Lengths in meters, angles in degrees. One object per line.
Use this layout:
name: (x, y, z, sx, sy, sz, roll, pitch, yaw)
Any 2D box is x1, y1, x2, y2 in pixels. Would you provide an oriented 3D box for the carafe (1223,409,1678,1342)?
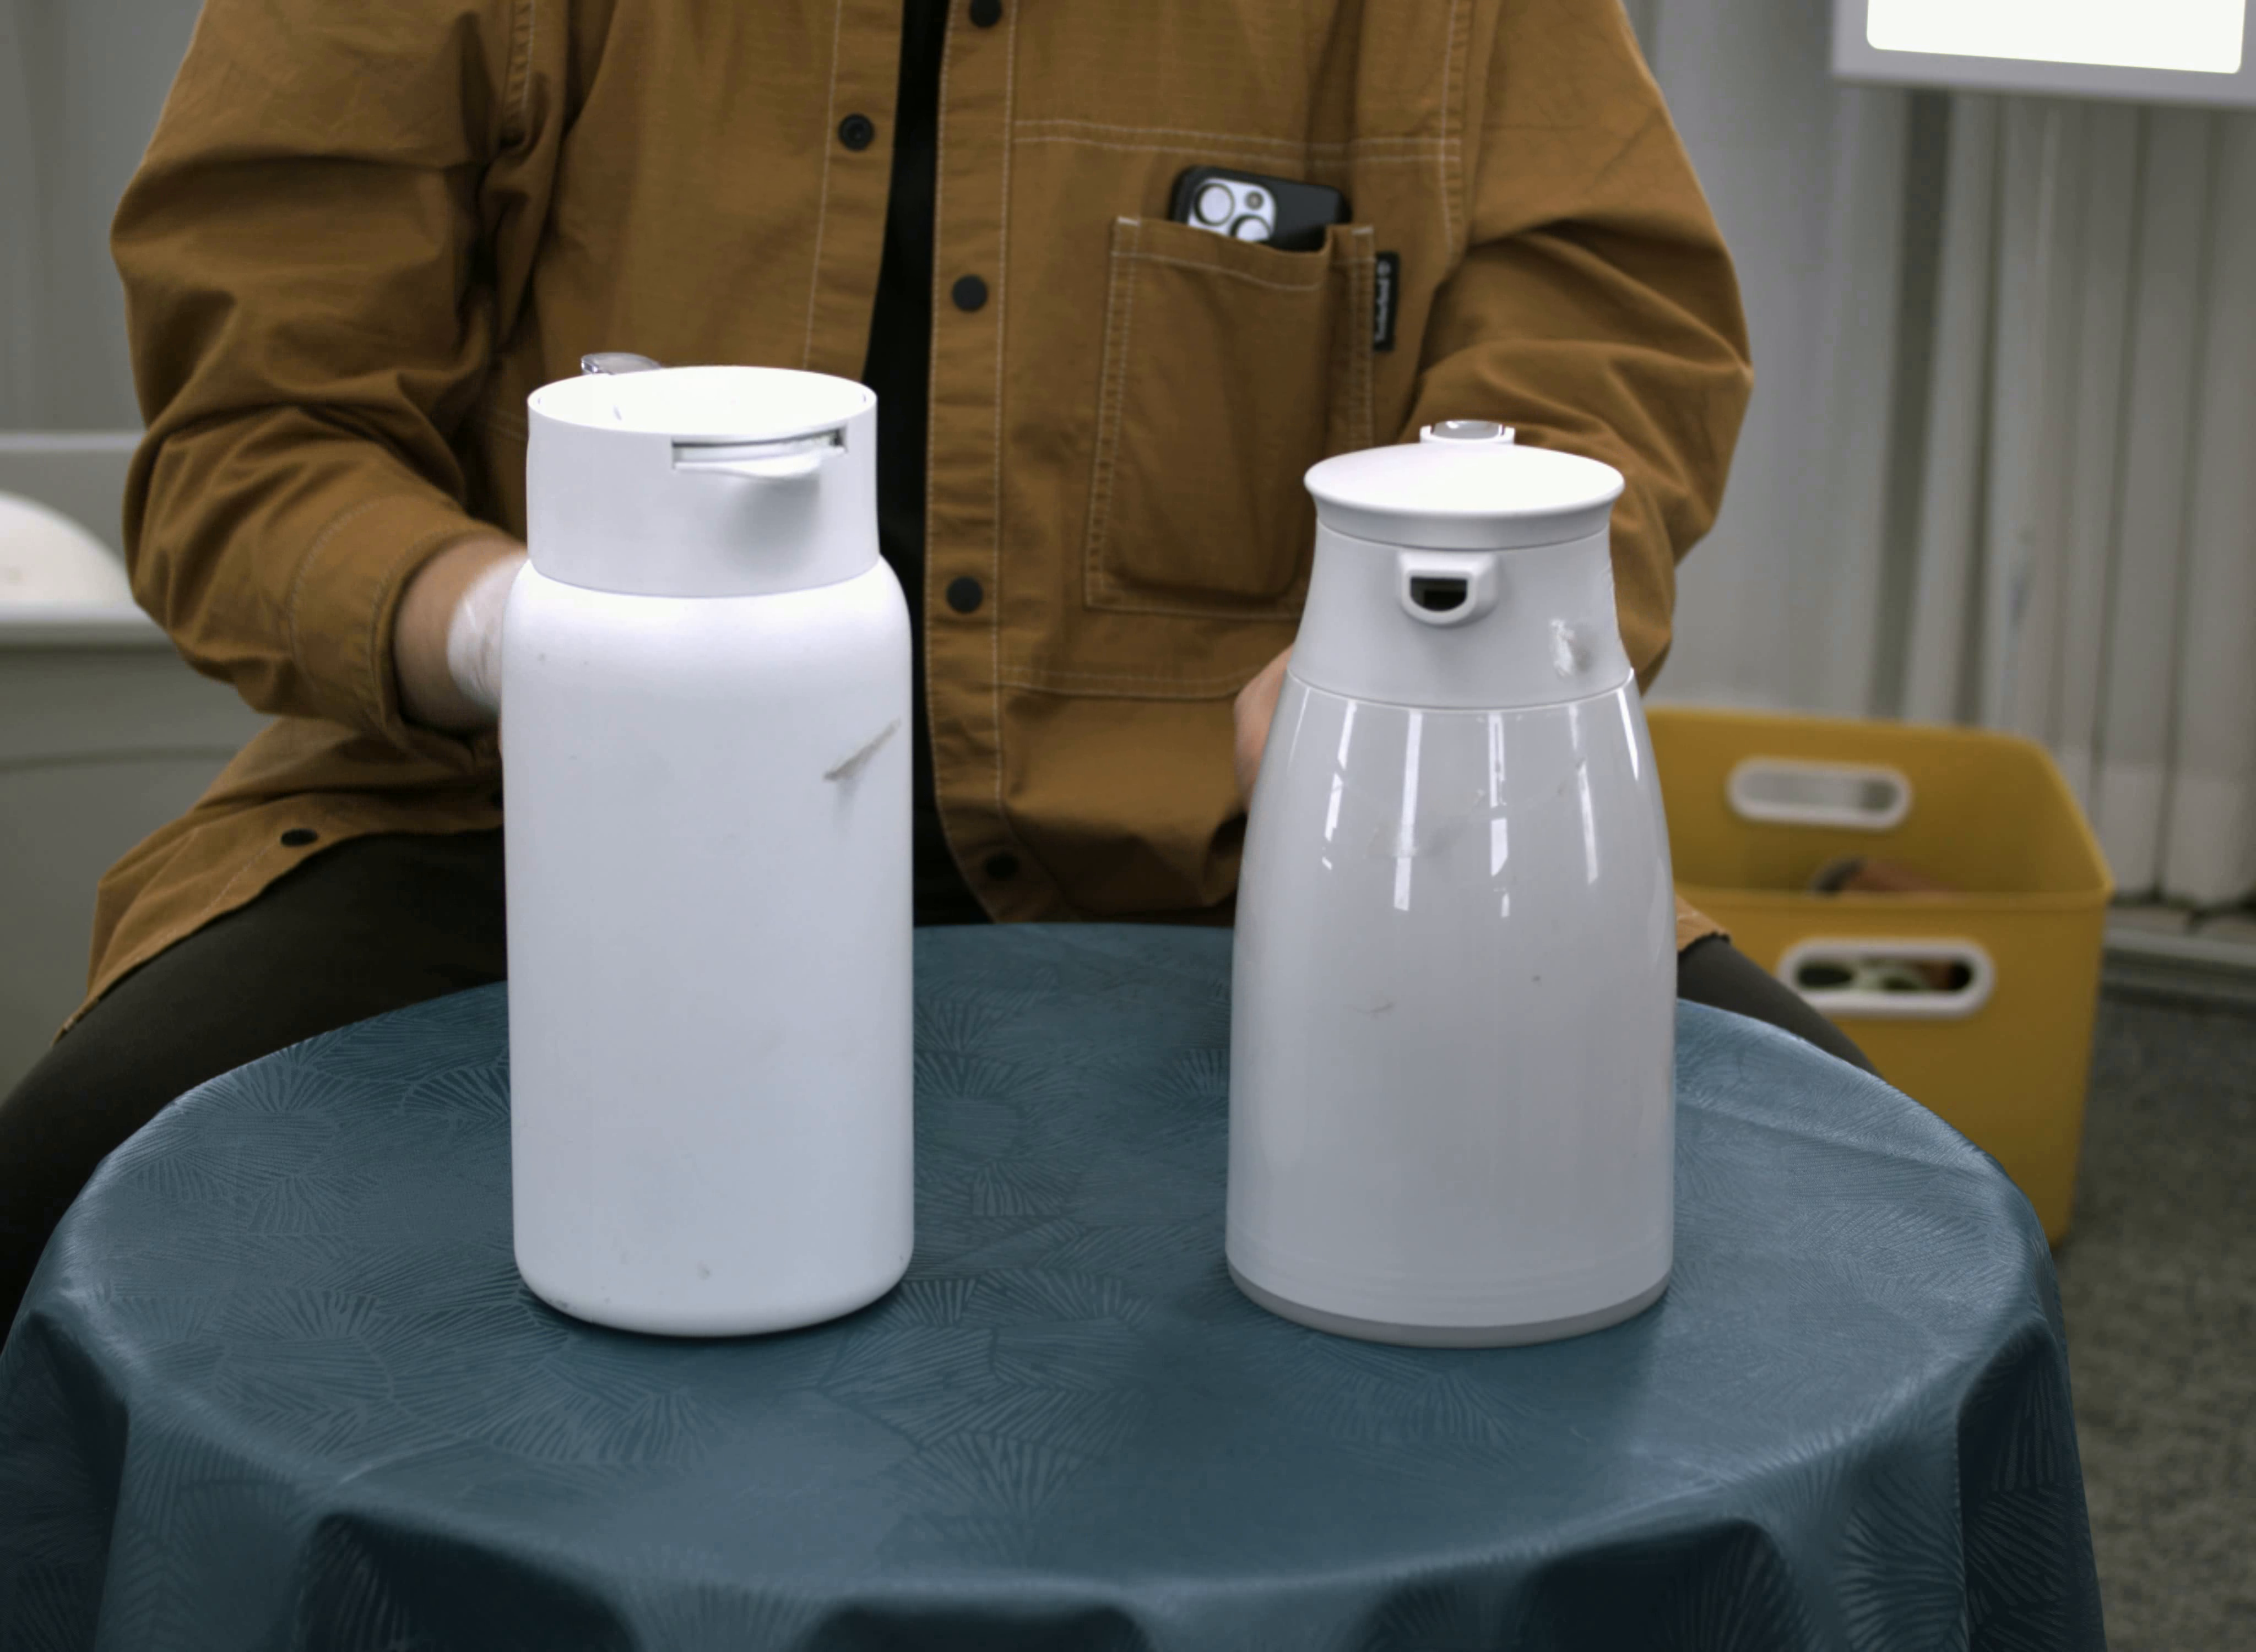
carafe: (0.097, 0.006, 1.541, 0.132, 0.250, 0.167, 3, 16, 8)

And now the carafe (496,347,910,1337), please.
carafe: (-0.130, 0.000, 1.520, 0.124, 0.271, 0.170, -10, 19, -27)
